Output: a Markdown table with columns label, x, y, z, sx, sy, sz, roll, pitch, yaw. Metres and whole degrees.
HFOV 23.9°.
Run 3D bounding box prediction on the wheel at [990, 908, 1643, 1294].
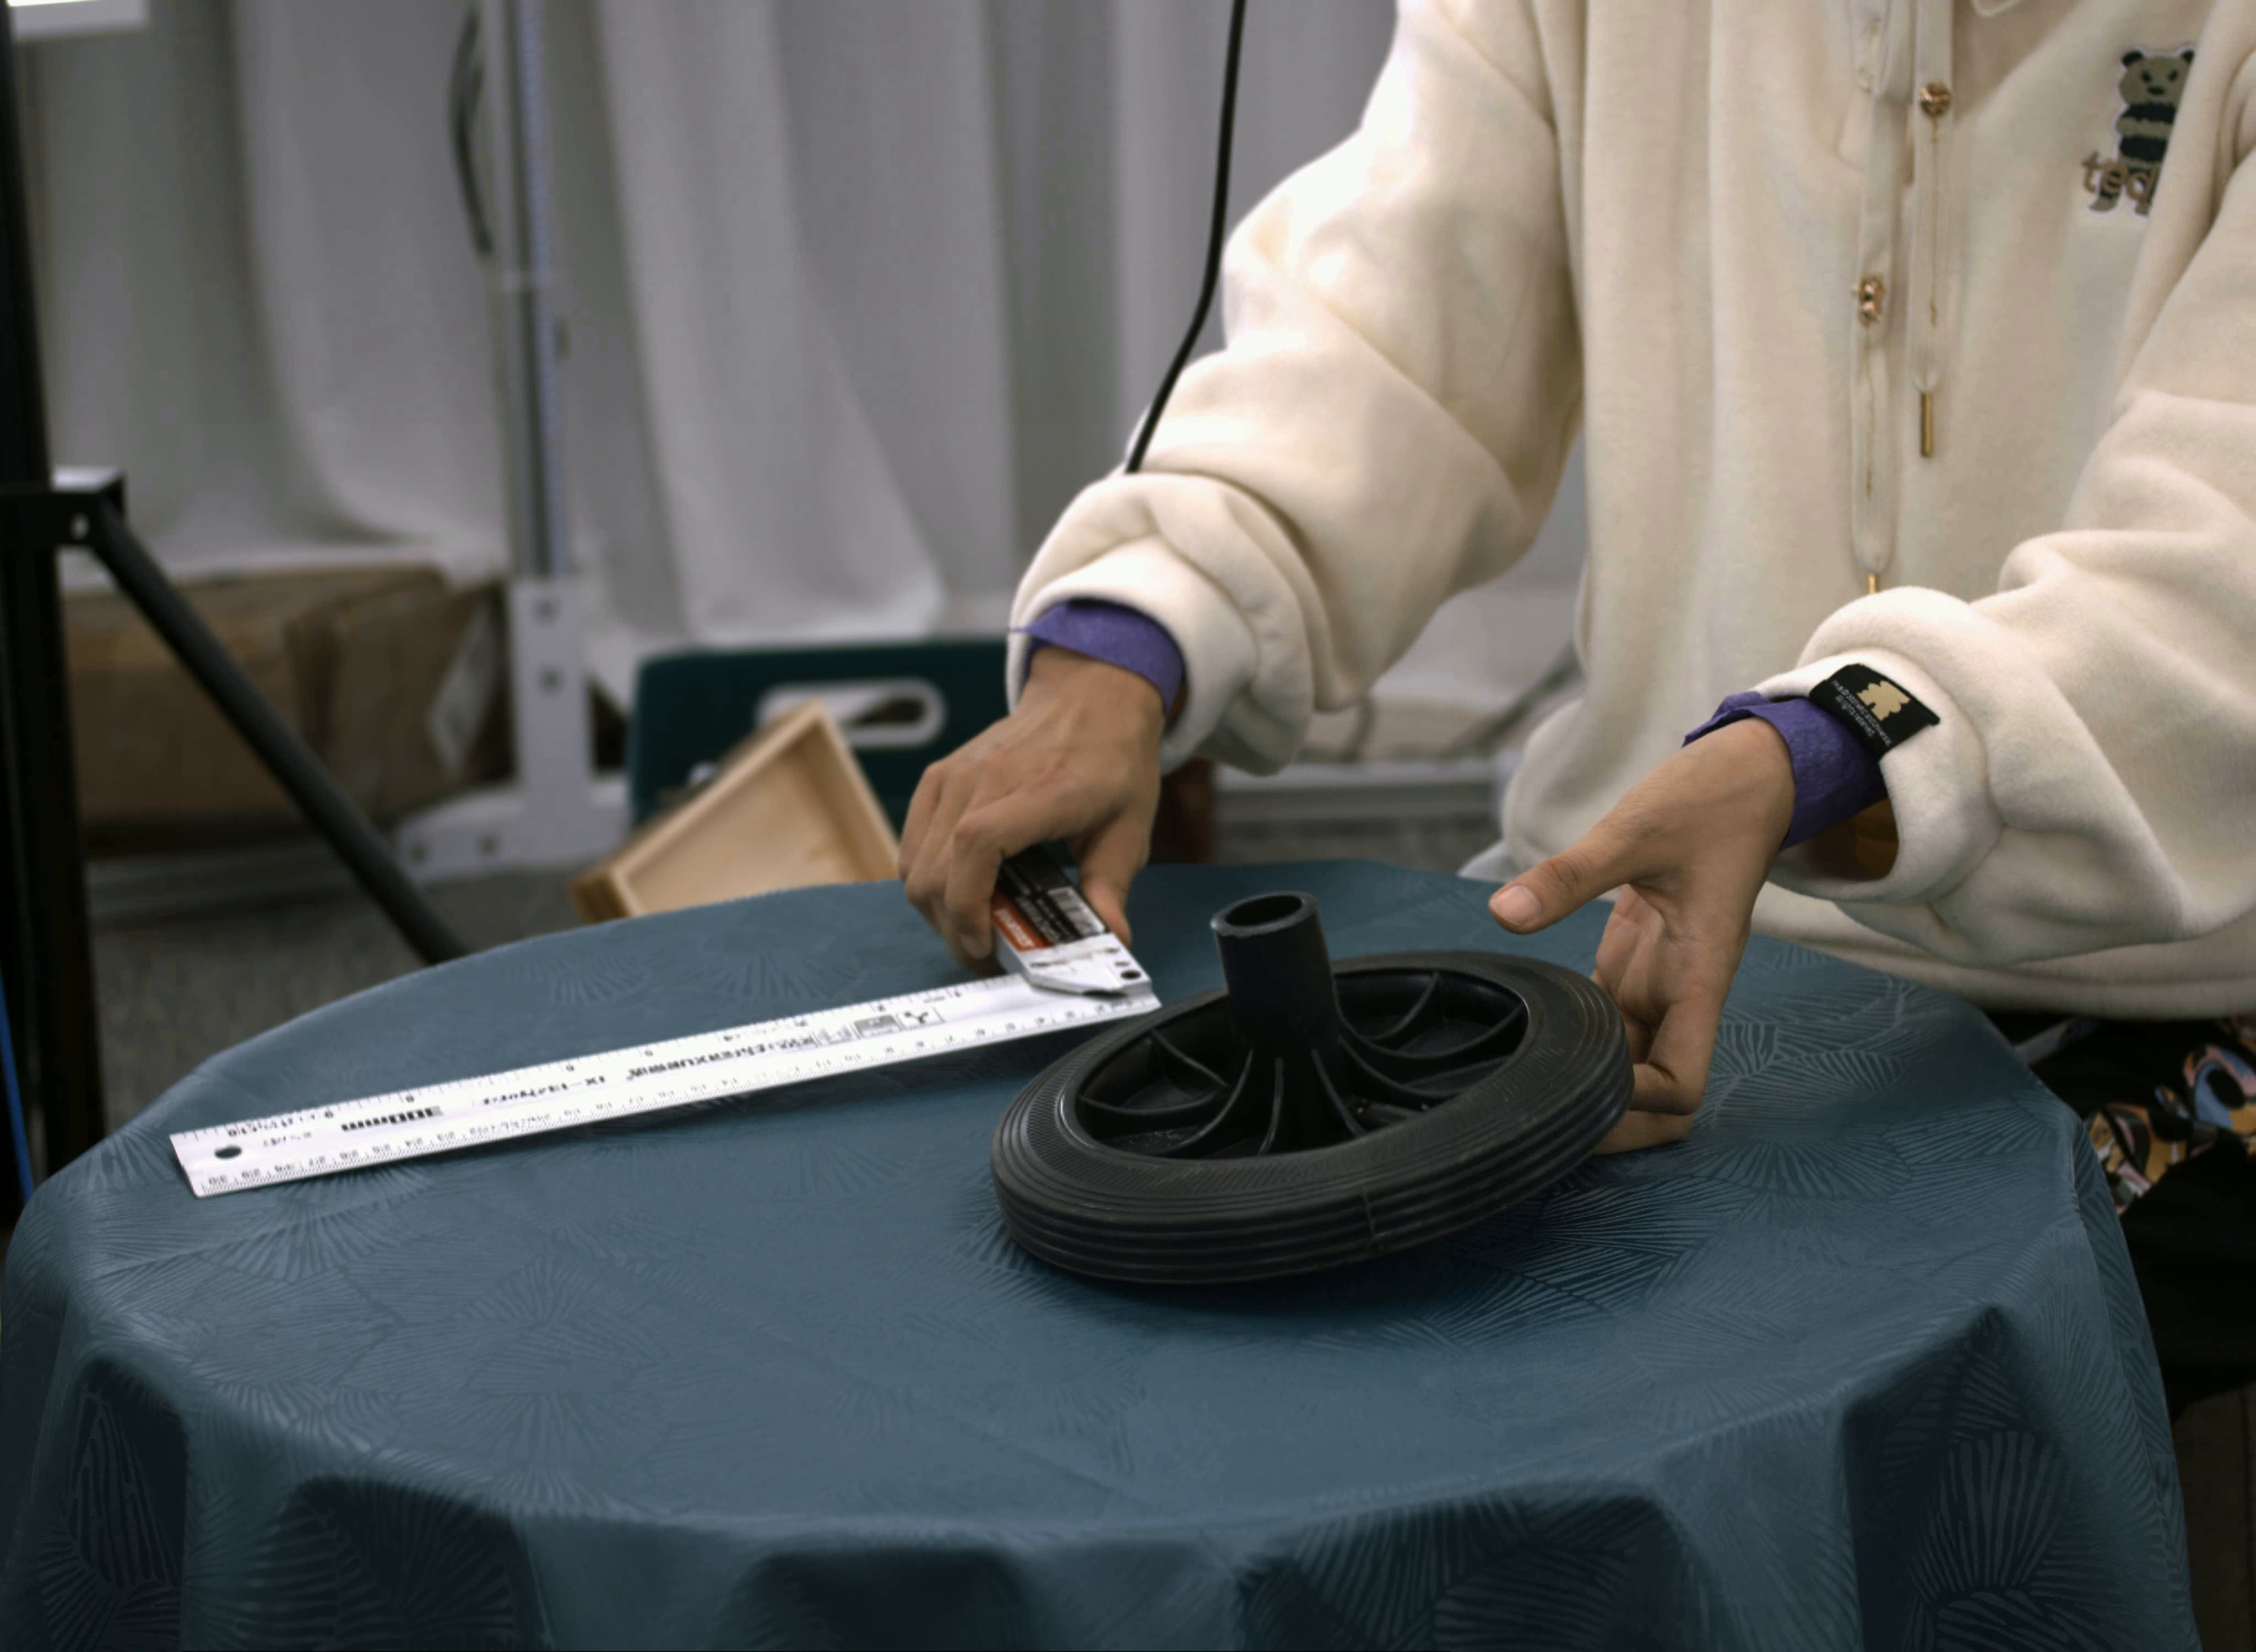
| label | x | y | z | sx | sy | sz | roll | pitch | yaw |
| --- | --- | --- | --- | --- | --- | --- | --- | --- | --- |
| wheel | 0.050 | 0.066 | 1.524 | 0.193 | 0.079 | 0.185 | -1 | 21 | 31 |

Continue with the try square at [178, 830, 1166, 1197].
| label | x | y | z | sx | sy | sz | roll | pitch | yaw |
| --- | --- | --- | --- | --- | --- | --- | --- | --- | --- |
| try square | -0.155 | 0.058 | 1.698 | 0.308 | 0.016 | 0.155 | -10 | 24 | -16 |
